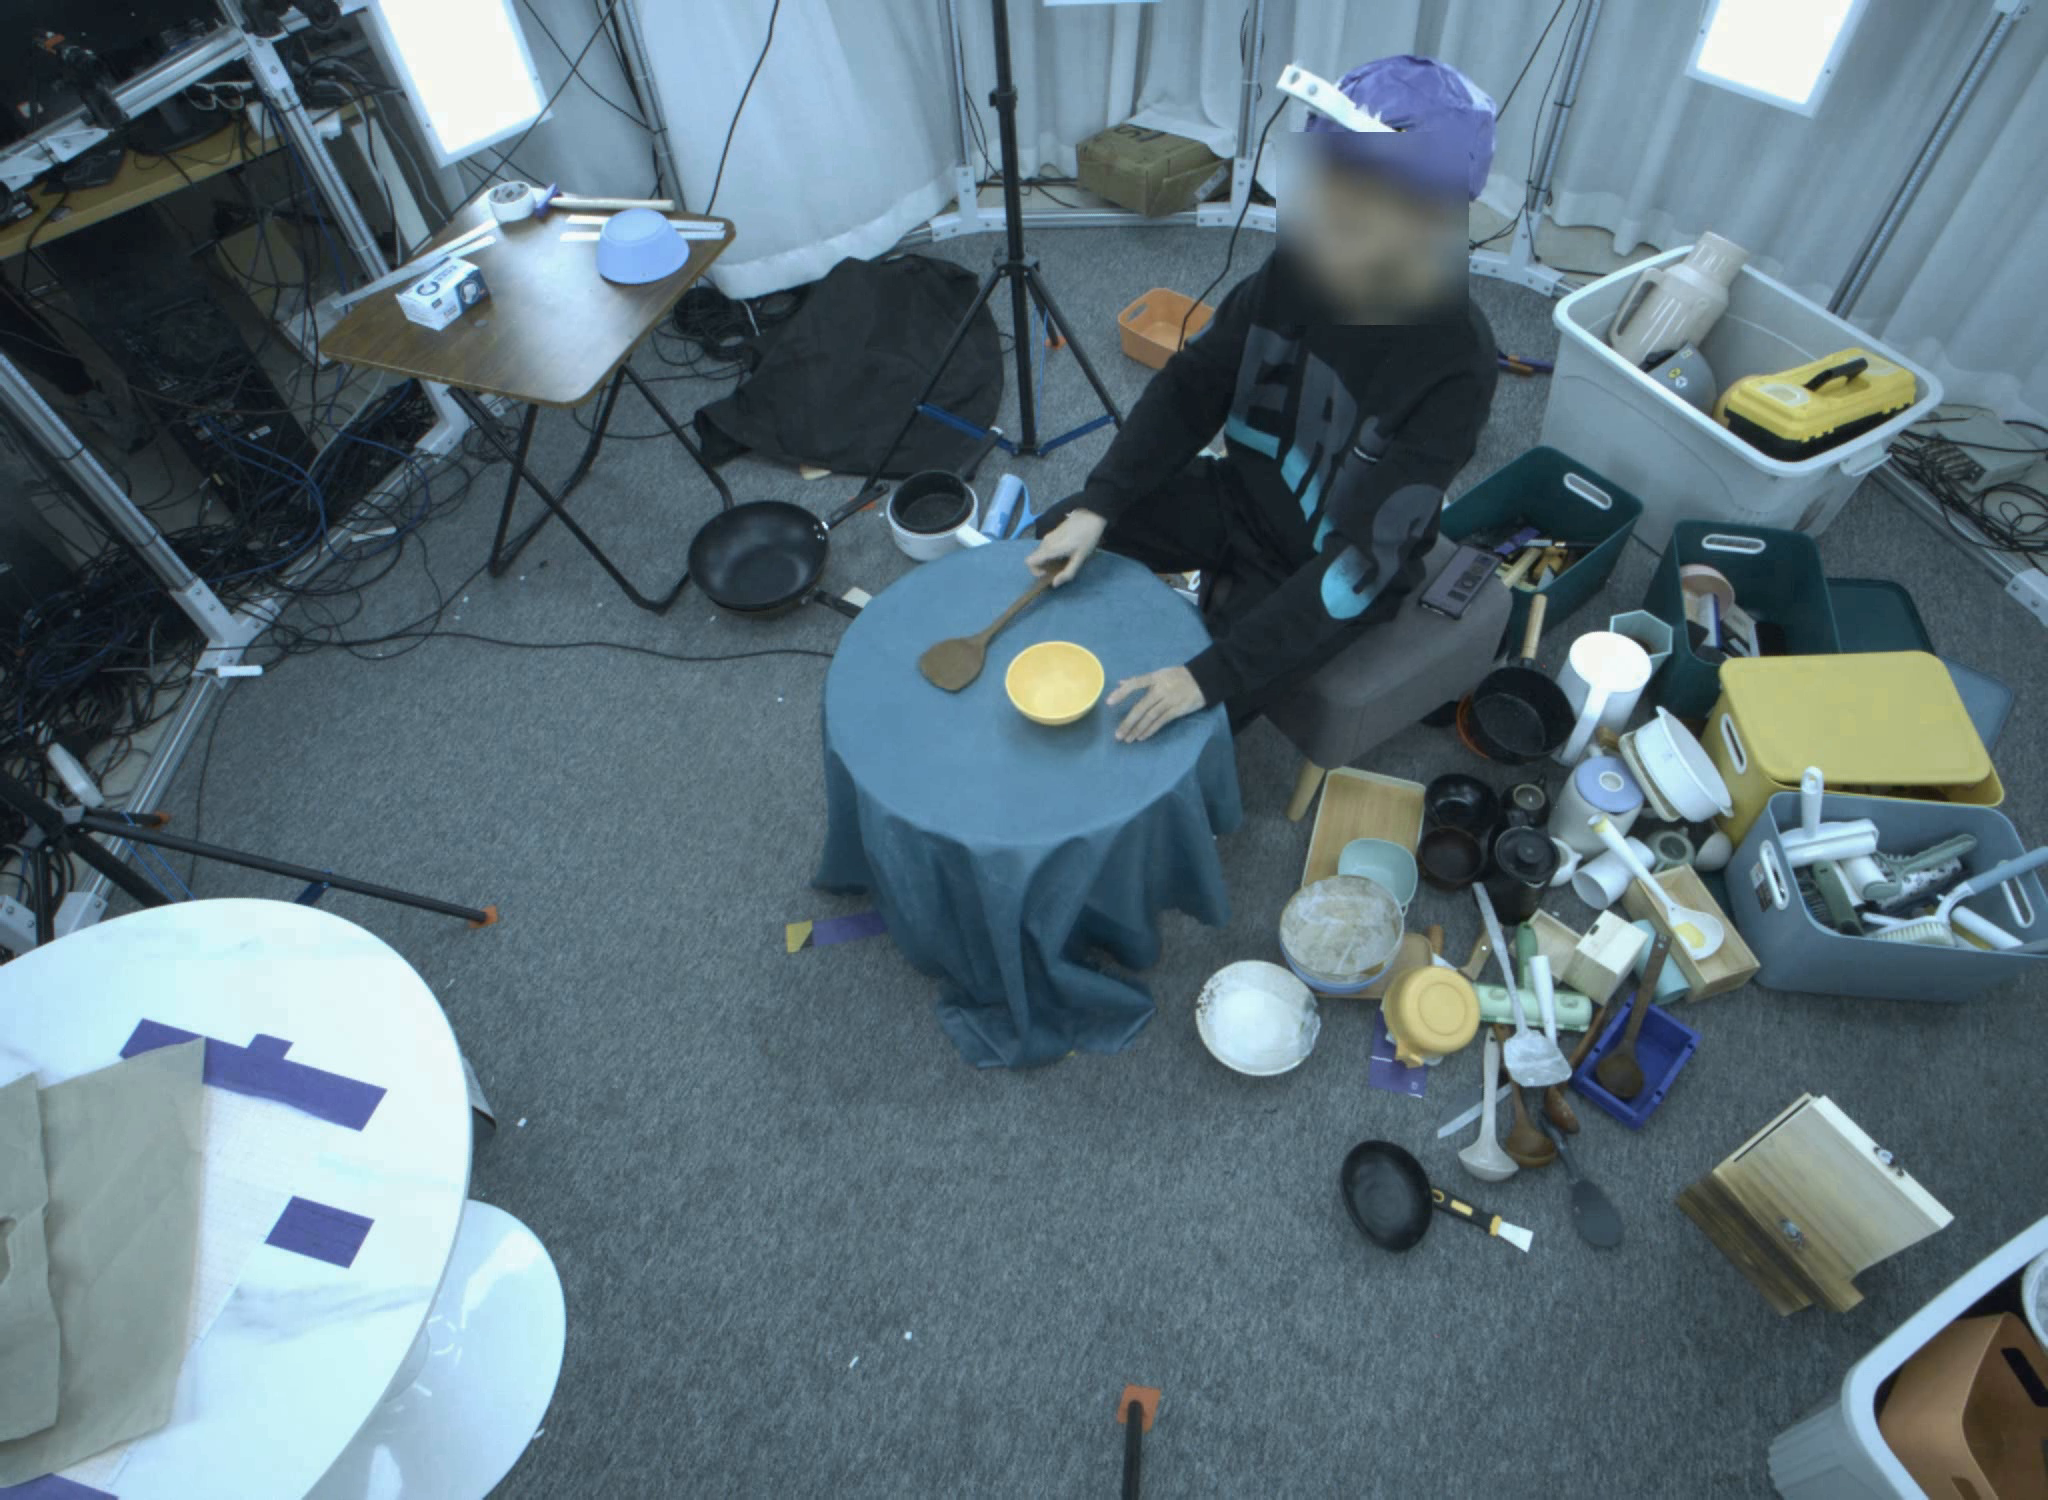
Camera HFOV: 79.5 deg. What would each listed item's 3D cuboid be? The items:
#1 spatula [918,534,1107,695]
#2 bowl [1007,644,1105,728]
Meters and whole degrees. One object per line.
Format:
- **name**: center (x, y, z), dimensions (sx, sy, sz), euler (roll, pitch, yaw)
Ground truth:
- **spatula**: center (-0.006, -0.224, 1.931), dimensions (0.094, 0.016, 0.388), euler (39, 70, 24)
- **bowl**: center (0.047, -0.083, 1.821), dimensions (0.145, 0.060, 0.144), euler (1, 56, 0)
